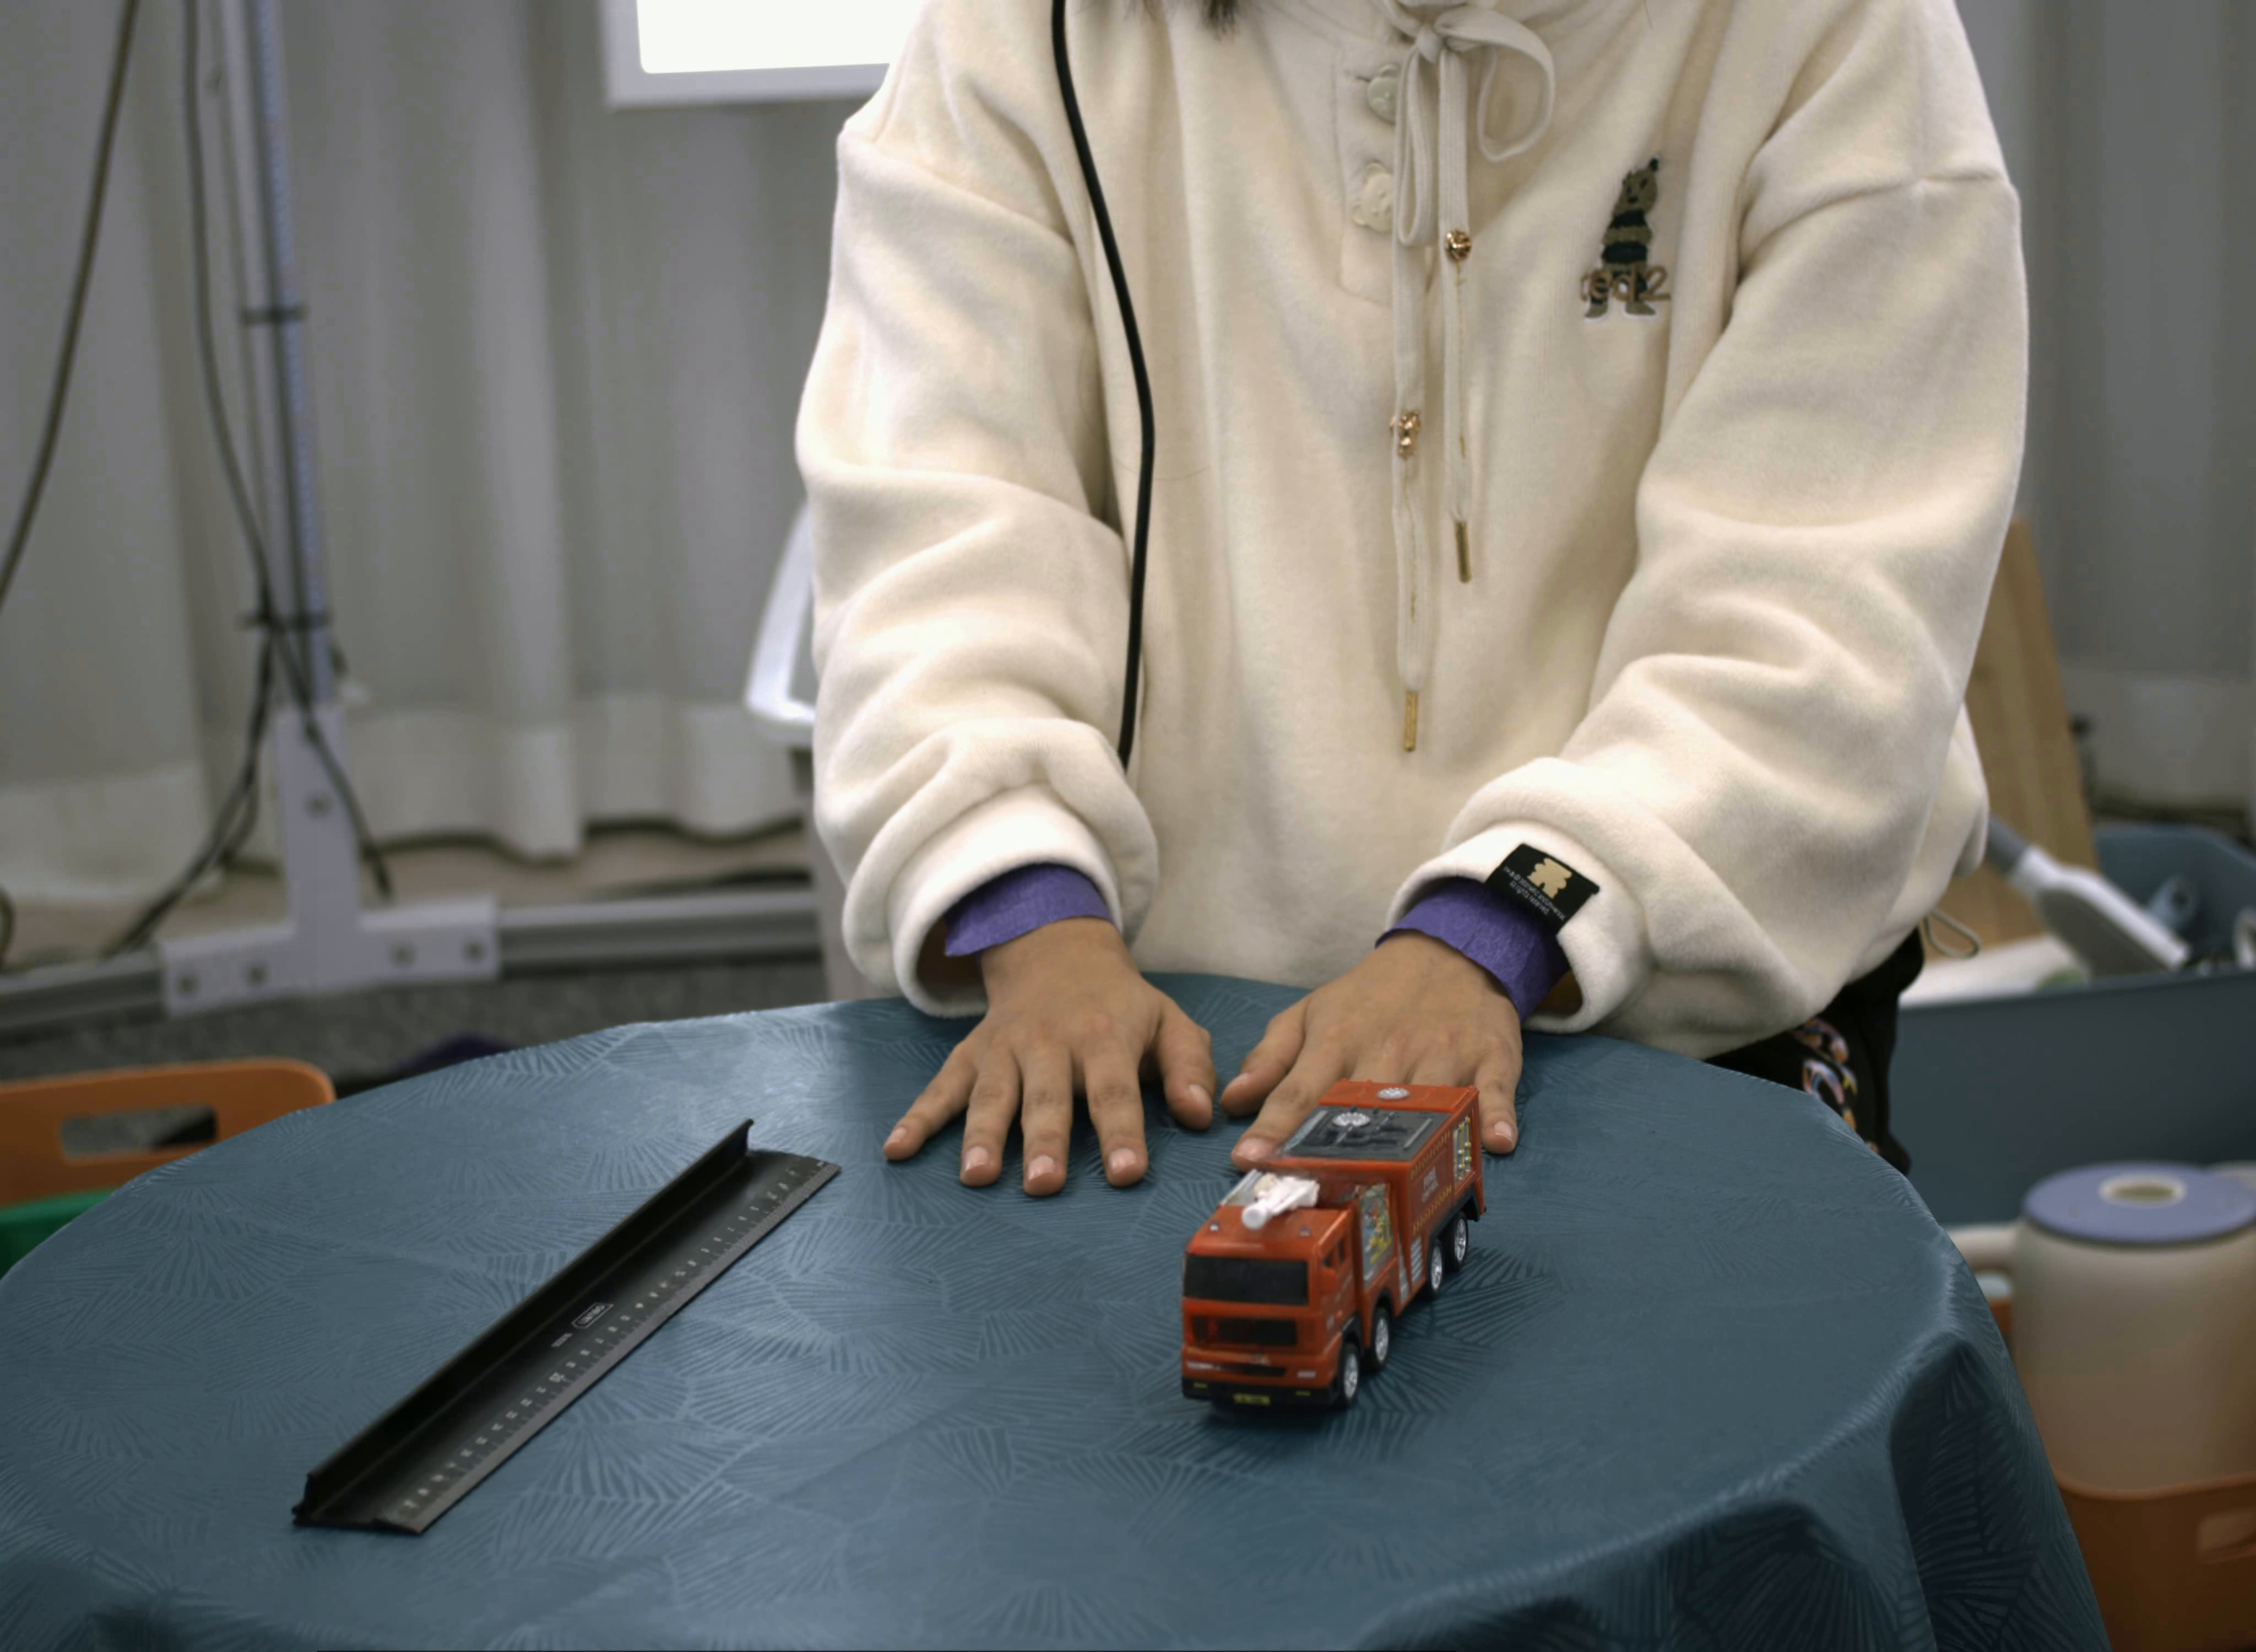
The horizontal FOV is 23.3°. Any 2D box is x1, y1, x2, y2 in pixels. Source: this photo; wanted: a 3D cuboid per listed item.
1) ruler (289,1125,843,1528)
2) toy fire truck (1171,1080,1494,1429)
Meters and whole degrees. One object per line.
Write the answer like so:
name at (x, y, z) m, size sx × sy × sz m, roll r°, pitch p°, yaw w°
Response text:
ruler at (-0.159, 0.142, 1.610) m, size 0.039 × 0.017 × 0.313 m, roll 6°, pitch 17°, yaw 18°
toy fire truck at (0.061, 0.120, 1.571) m, size 0.054 × 0.070 × 0.168 m, roll 2°, pitch 14°, yaw 20°
